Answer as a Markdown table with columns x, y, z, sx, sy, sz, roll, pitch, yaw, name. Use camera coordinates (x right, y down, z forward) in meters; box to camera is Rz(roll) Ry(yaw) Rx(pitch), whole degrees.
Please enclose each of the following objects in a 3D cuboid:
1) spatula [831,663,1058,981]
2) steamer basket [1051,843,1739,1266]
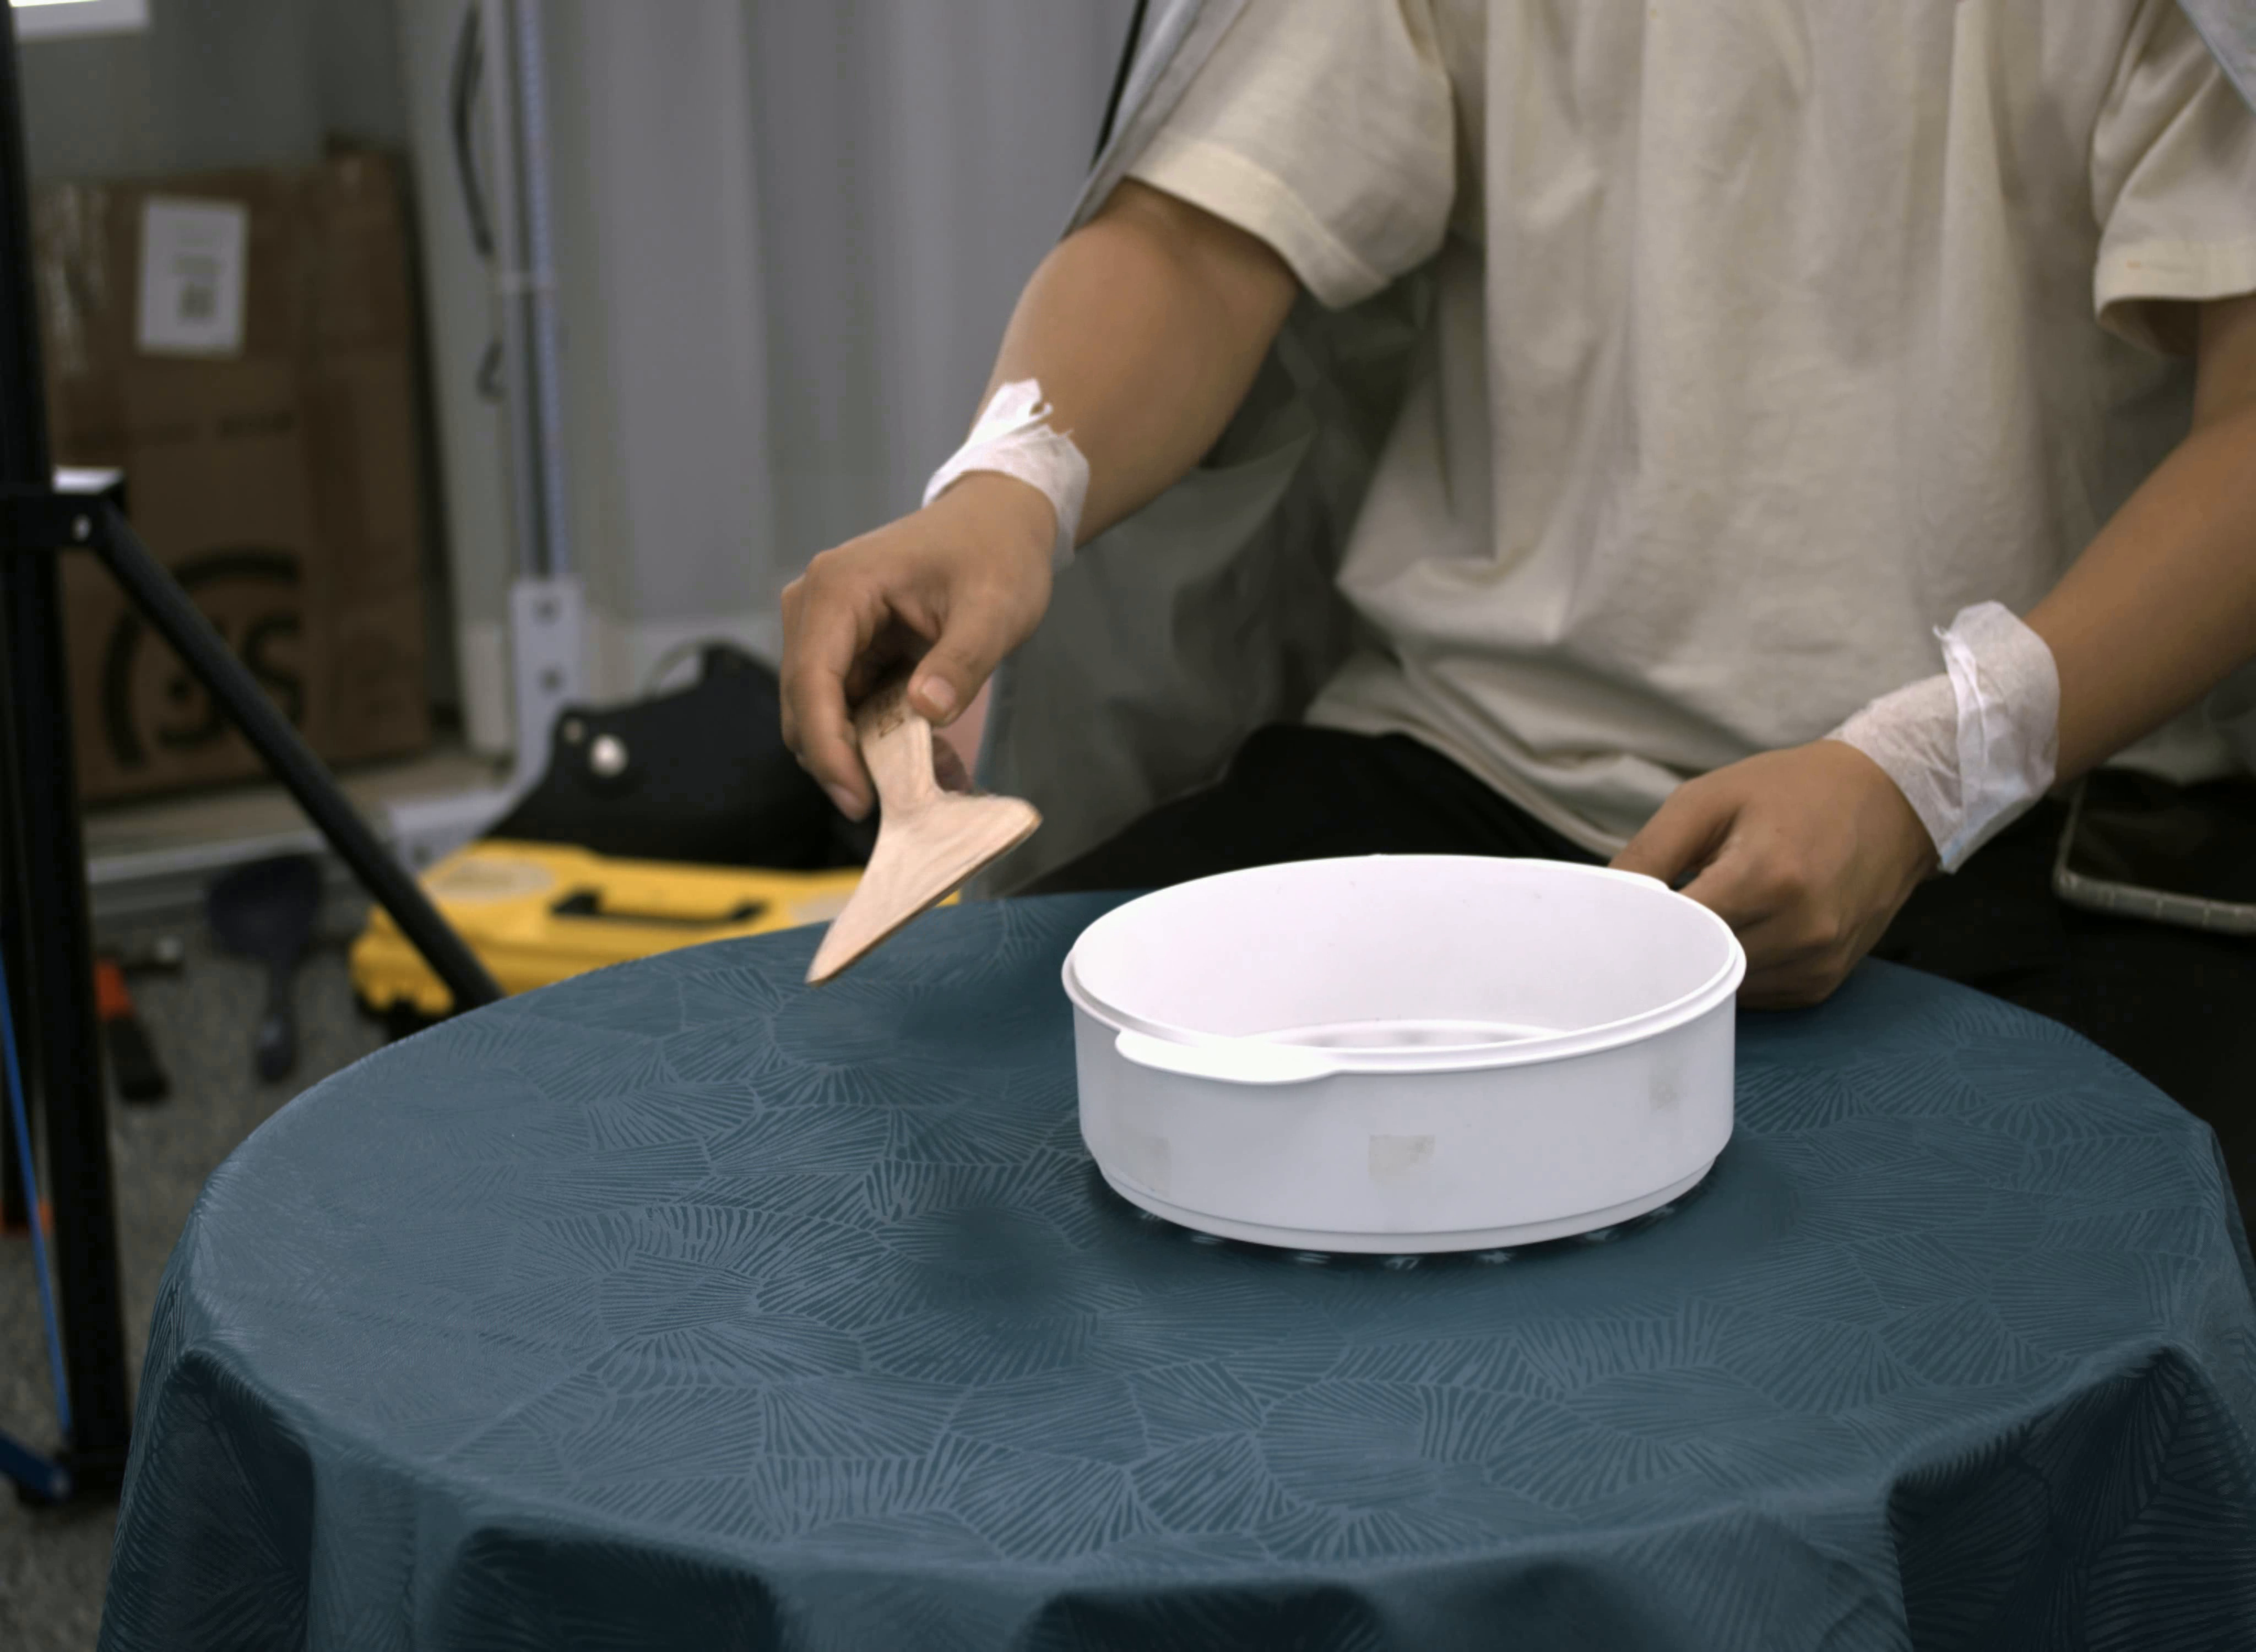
| x | y | z | sx | sy | sz | roll | pitch | yaw | name |
| --- | --- | --- | --- | --- | --- | --- | --- | --- | --- |
| -0.066 | -0.013 | 1.617 | 0.080 | 0.016 | 0.330 | -38 | 15 | 3 | spatula |
| 0.078 | 0.067 | 1.559 | 0.206 | 0.069 | 0.226 | 11 | 22 | 34 | steamer basket |
